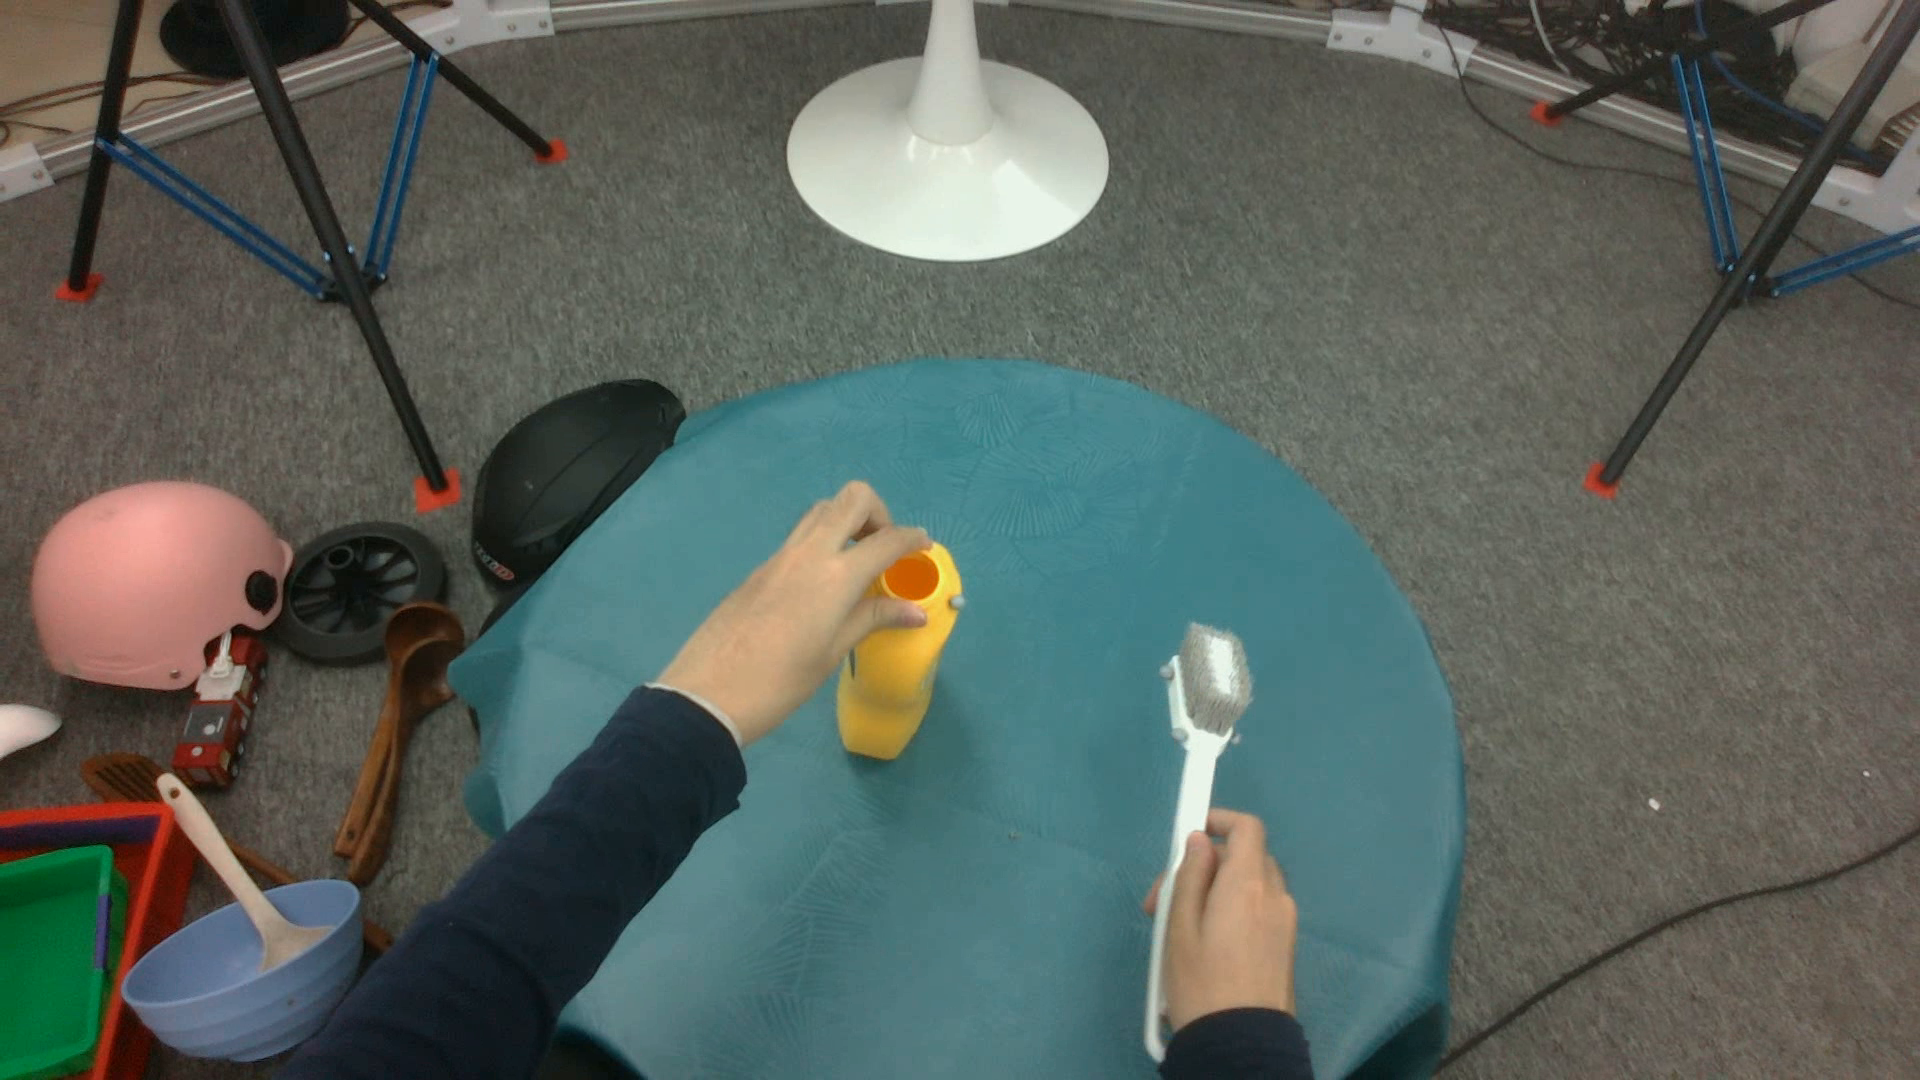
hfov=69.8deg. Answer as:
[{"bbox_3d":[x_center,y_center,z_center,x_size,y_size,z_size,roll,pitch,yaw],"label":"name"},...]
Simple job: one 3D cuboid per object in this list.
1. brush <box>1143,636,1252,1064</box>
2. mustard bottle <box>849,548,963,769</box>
[{"bbox_3d":[0.129,0.155,0.739,0.034,0.050,0.245,22,49,-10],"label":"brush"},{"bbox_3d":[-0.033,0.065,0.806,0.059,0.171,0.098,7,63,-2],"label":"mustard bottle"}]
